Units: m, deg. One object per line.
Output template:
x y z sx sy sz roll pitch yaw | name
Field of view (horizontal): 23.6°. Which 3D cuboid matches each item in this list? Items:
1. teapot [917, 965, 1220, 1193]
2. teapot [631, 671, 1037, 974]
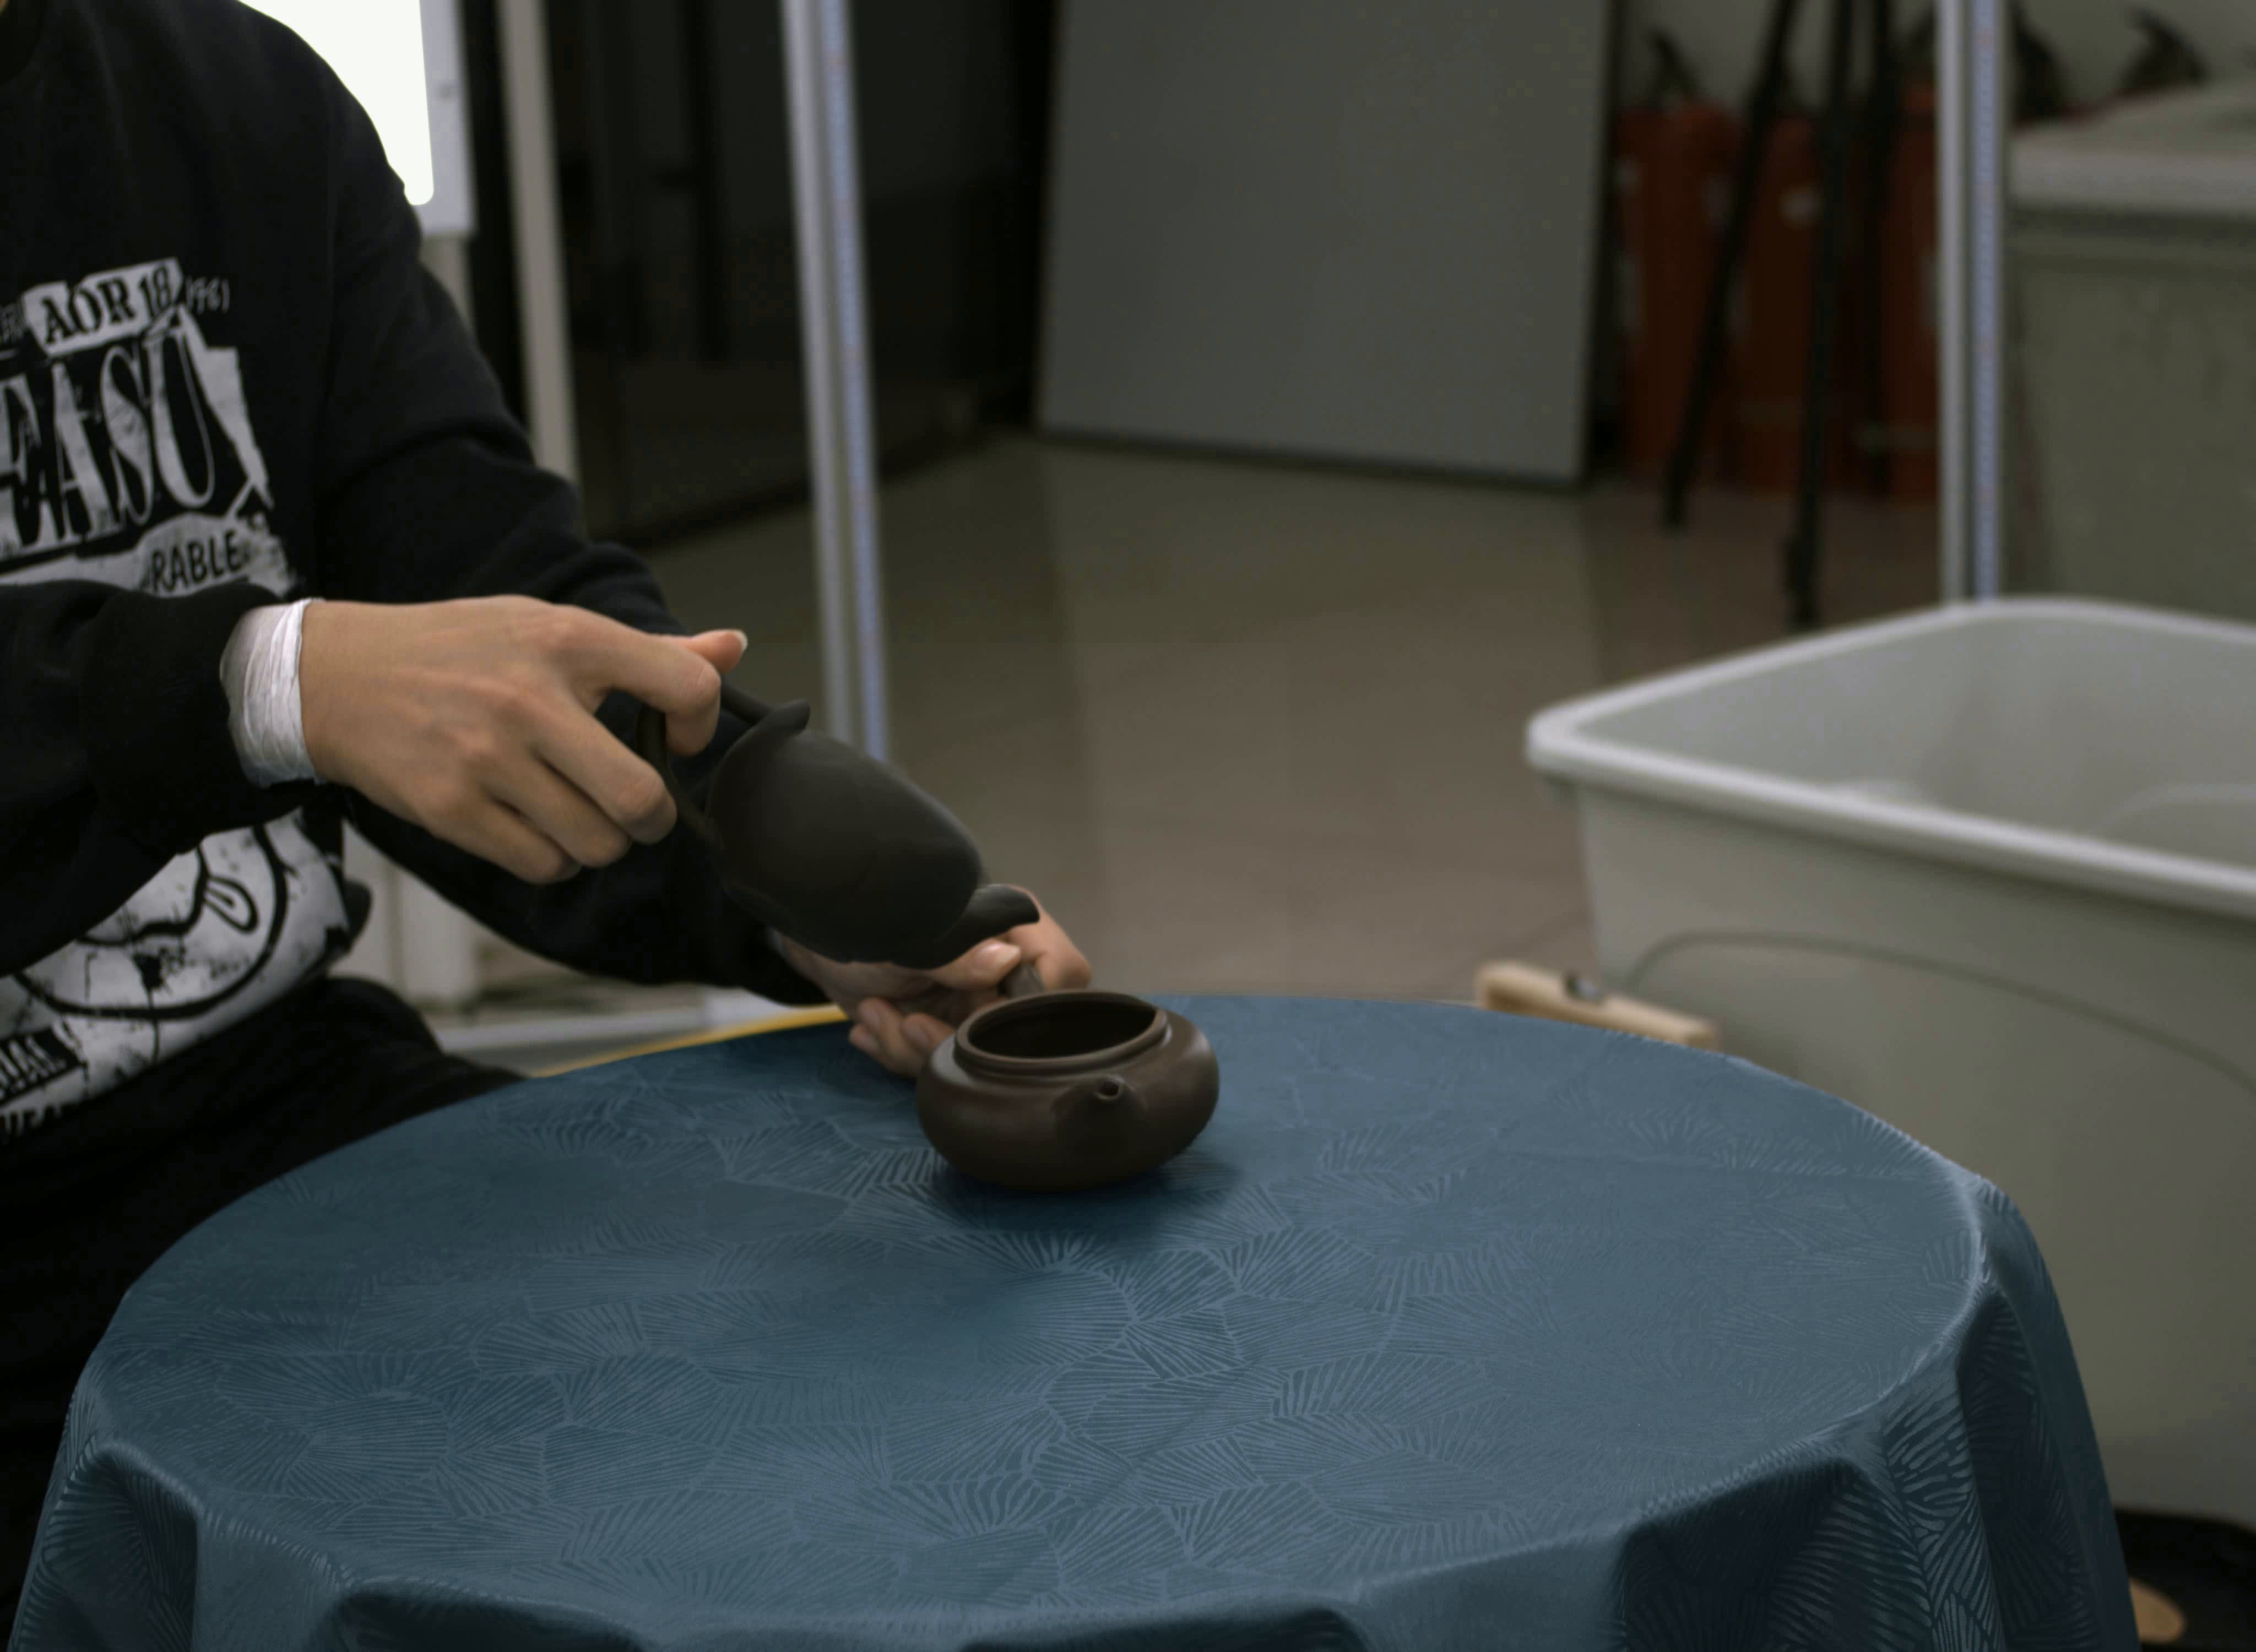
-0.021 0.086 1.802 0.100 0.054 0.155 -10 18 -16 | teapot
-0.097 0.005 1.741 0.152 0.064 0.093 36 -13 -19 | teapot
